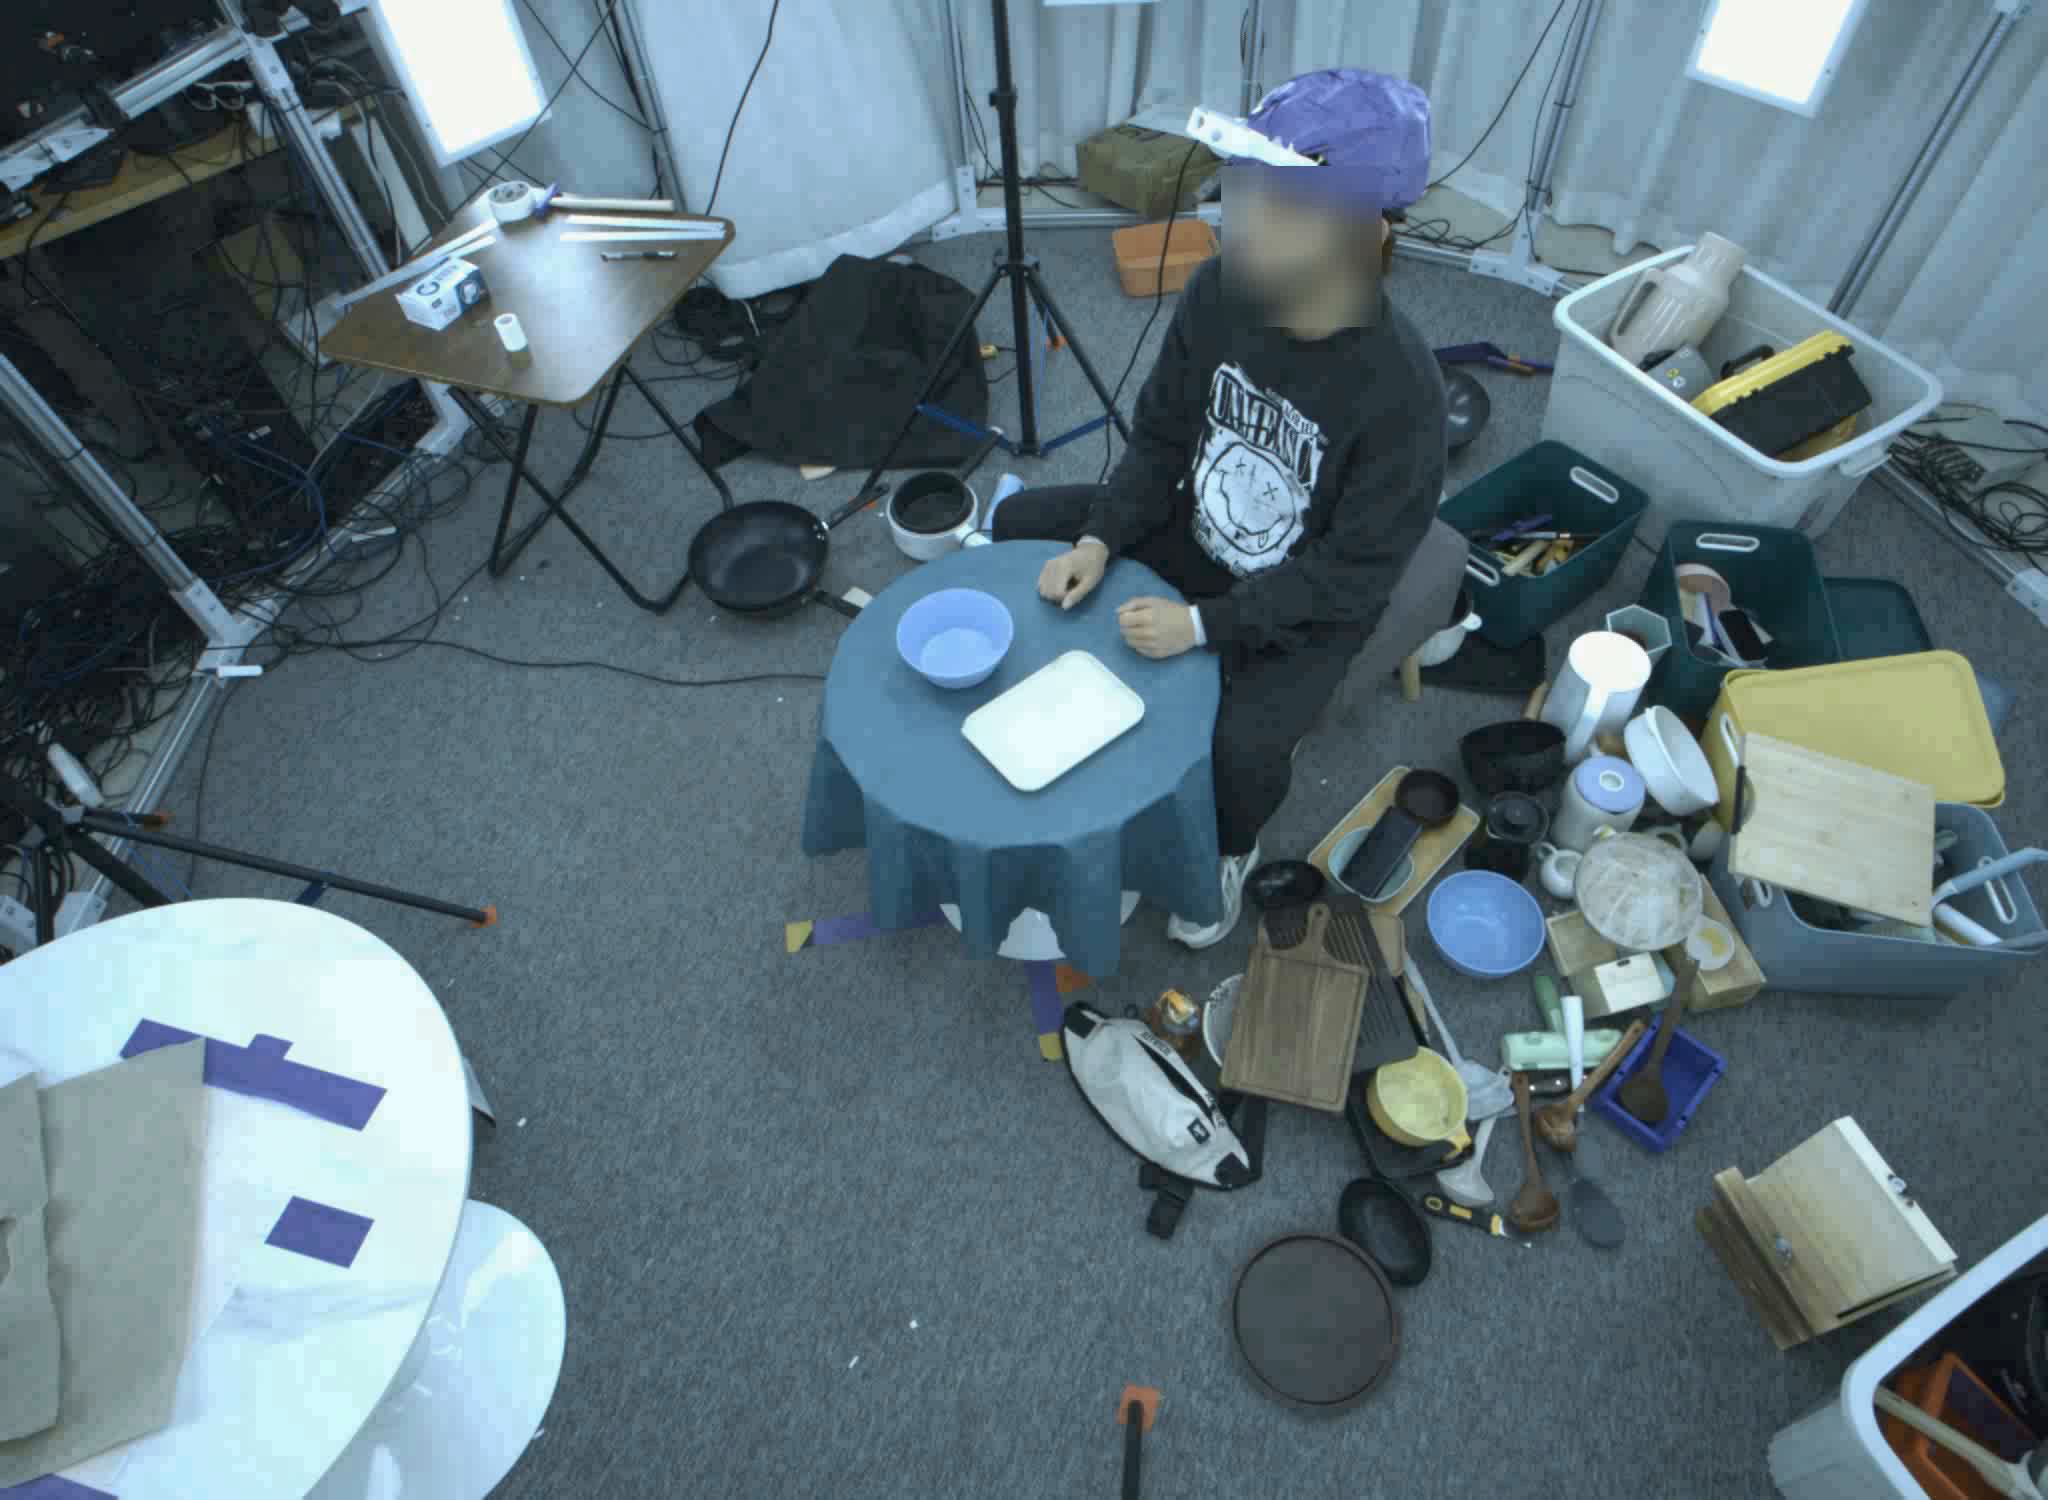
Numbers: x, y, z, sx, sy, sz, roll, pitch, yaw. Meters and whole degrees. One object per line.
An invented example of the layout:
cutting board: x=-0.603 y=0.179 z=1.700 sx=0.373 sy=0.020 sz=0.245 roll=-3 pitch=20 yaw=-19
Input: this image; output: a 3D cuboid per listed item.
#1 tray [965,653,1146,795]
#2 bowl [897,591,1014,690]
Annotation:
tray: x=0.047 y=-0.040 z=1.813 sx=0.241 sy=0.017 sz=0.168 roll=-34 pitch=61 yaw=-20
bowl: x=-0.102 y=-0.156 z=1.867 sx=0.176 sy=0.071 sz=0.174 roll=0 pitch=56 yaw=1
